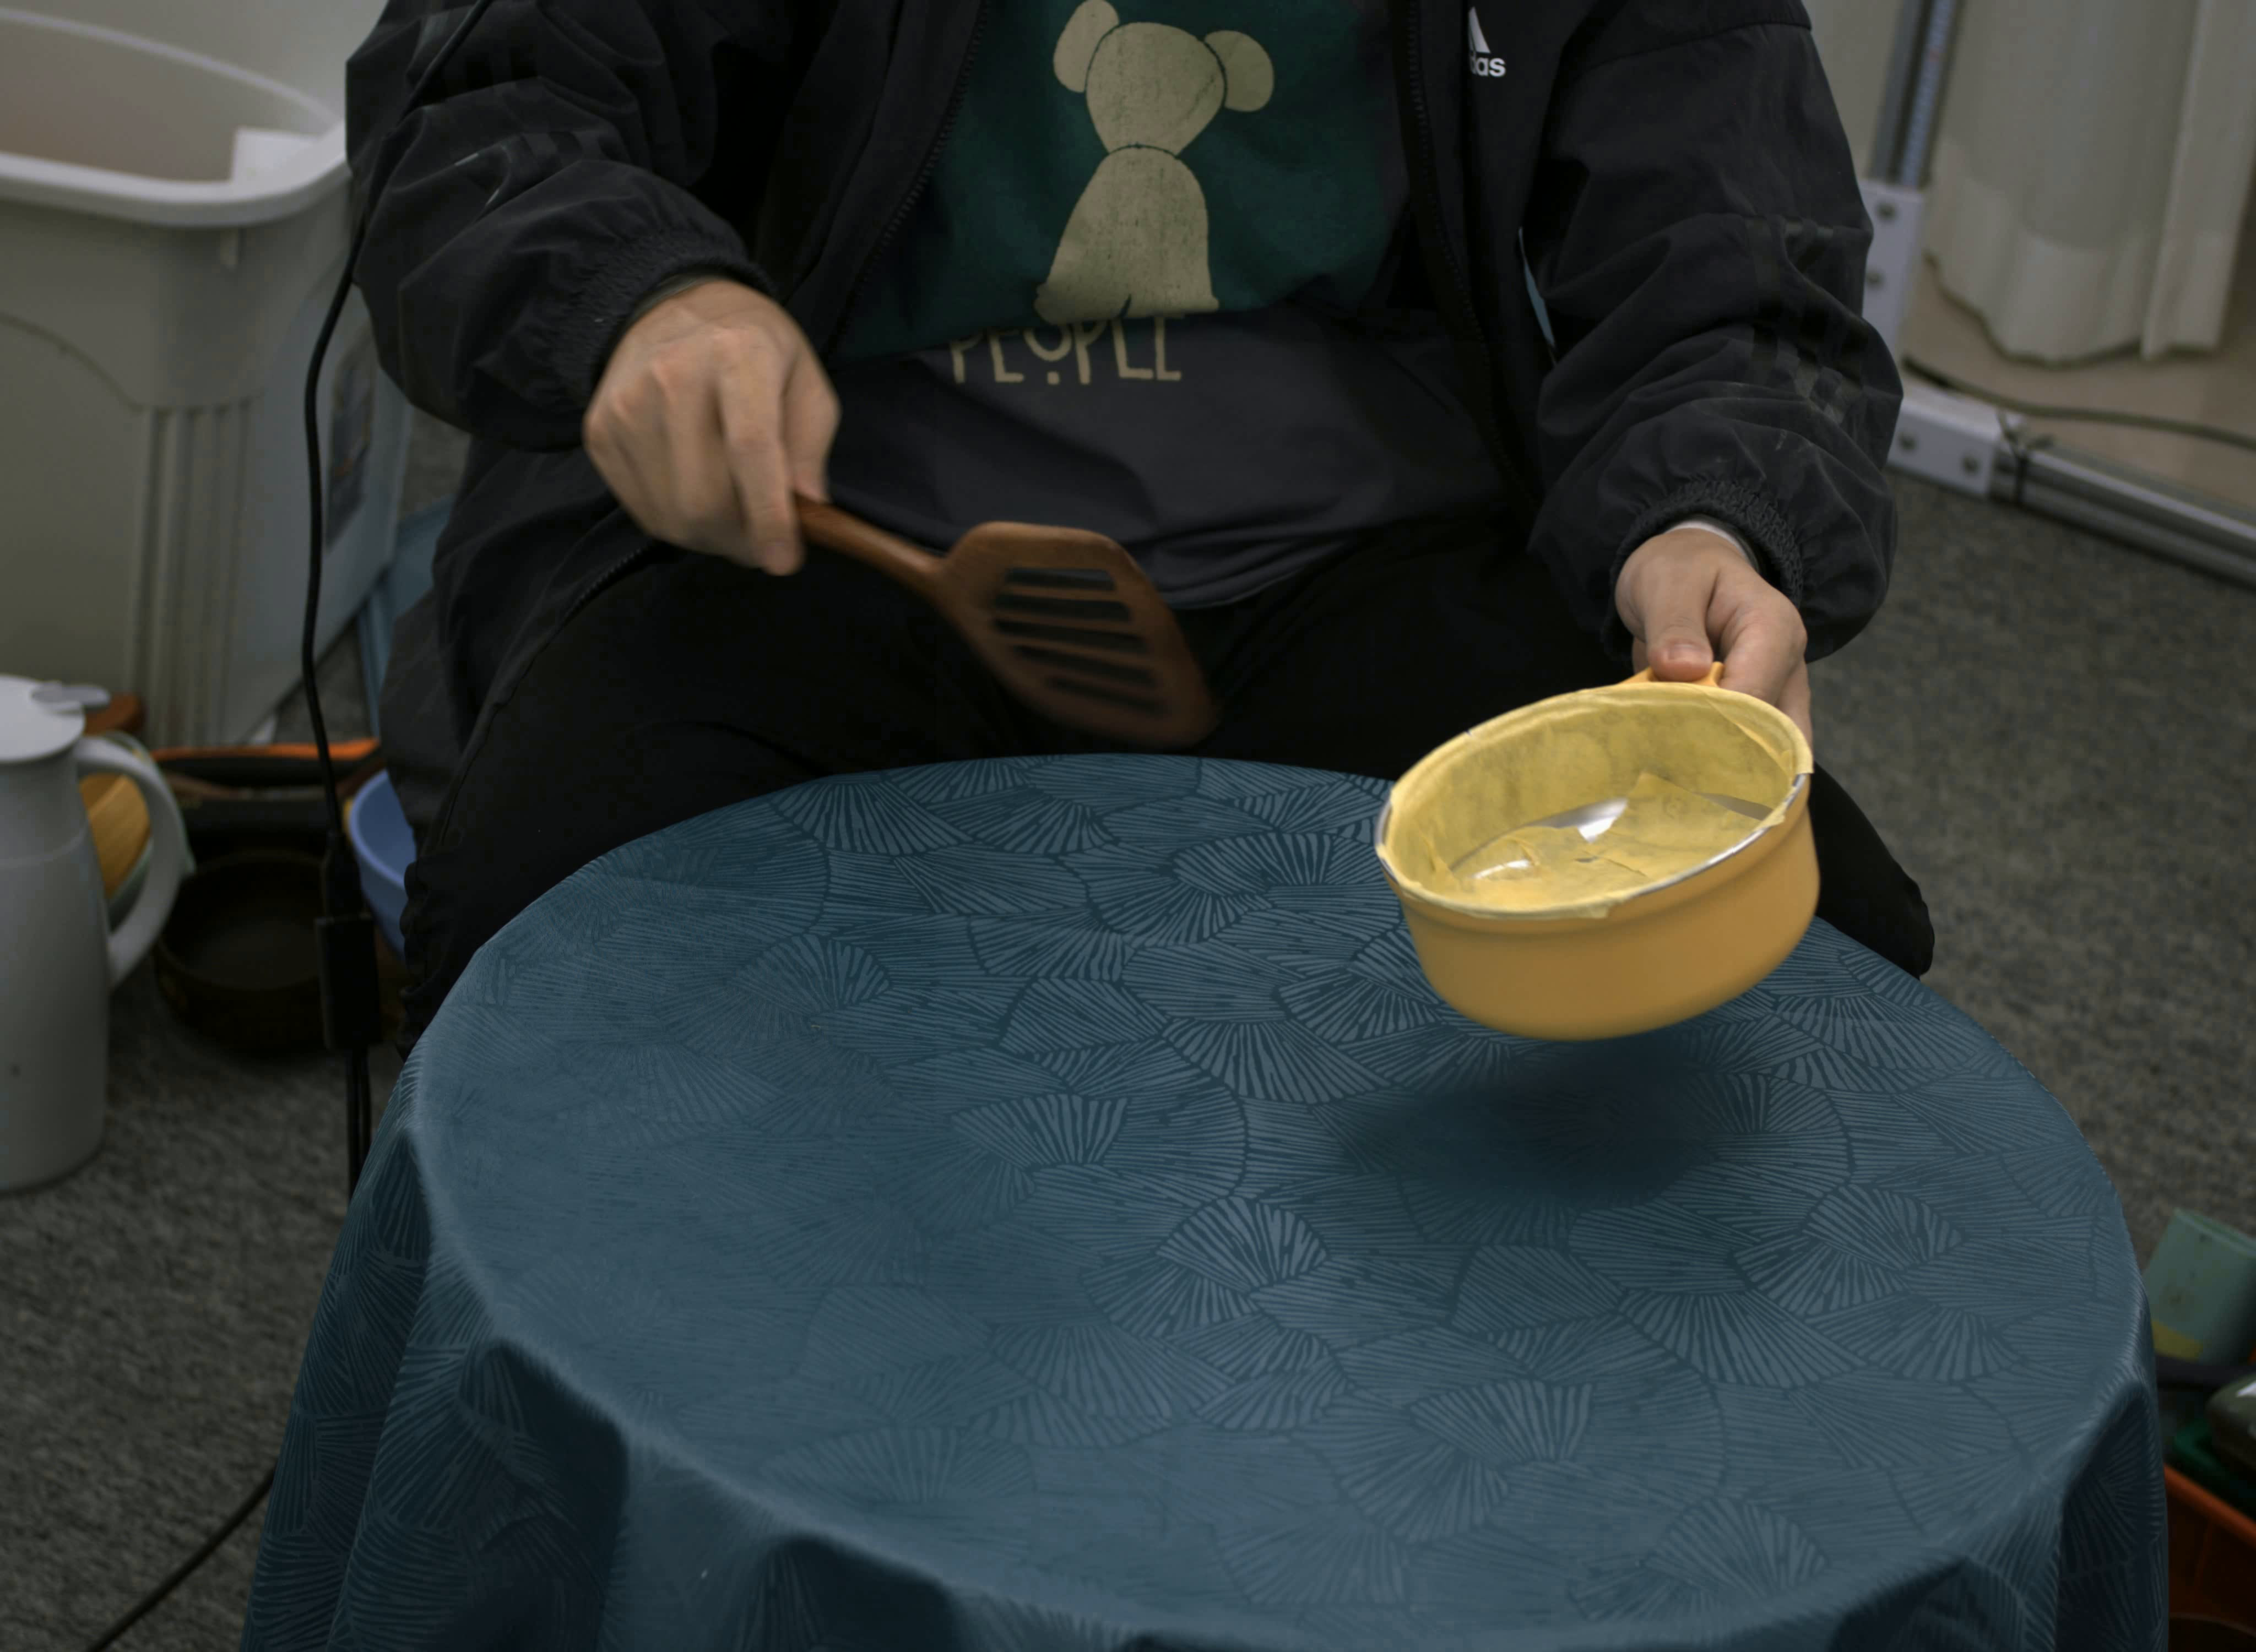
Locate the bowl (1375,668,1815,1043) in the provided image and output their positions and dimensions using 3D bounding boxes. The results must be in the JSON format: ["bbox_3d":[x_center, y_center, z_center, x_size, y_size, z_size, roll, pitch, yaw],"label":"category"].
[{"bbox_3d":[0.173,0.010,1.859,0.153,0.074,0.180,-2,31,26],"label":"bowl"}]

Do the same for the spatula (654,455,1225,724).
[{"bbox_3d":[-0.083,-0.095,1.893,0.024,0.085,0.389,-41,28,-16],"label":"spatula"}]
